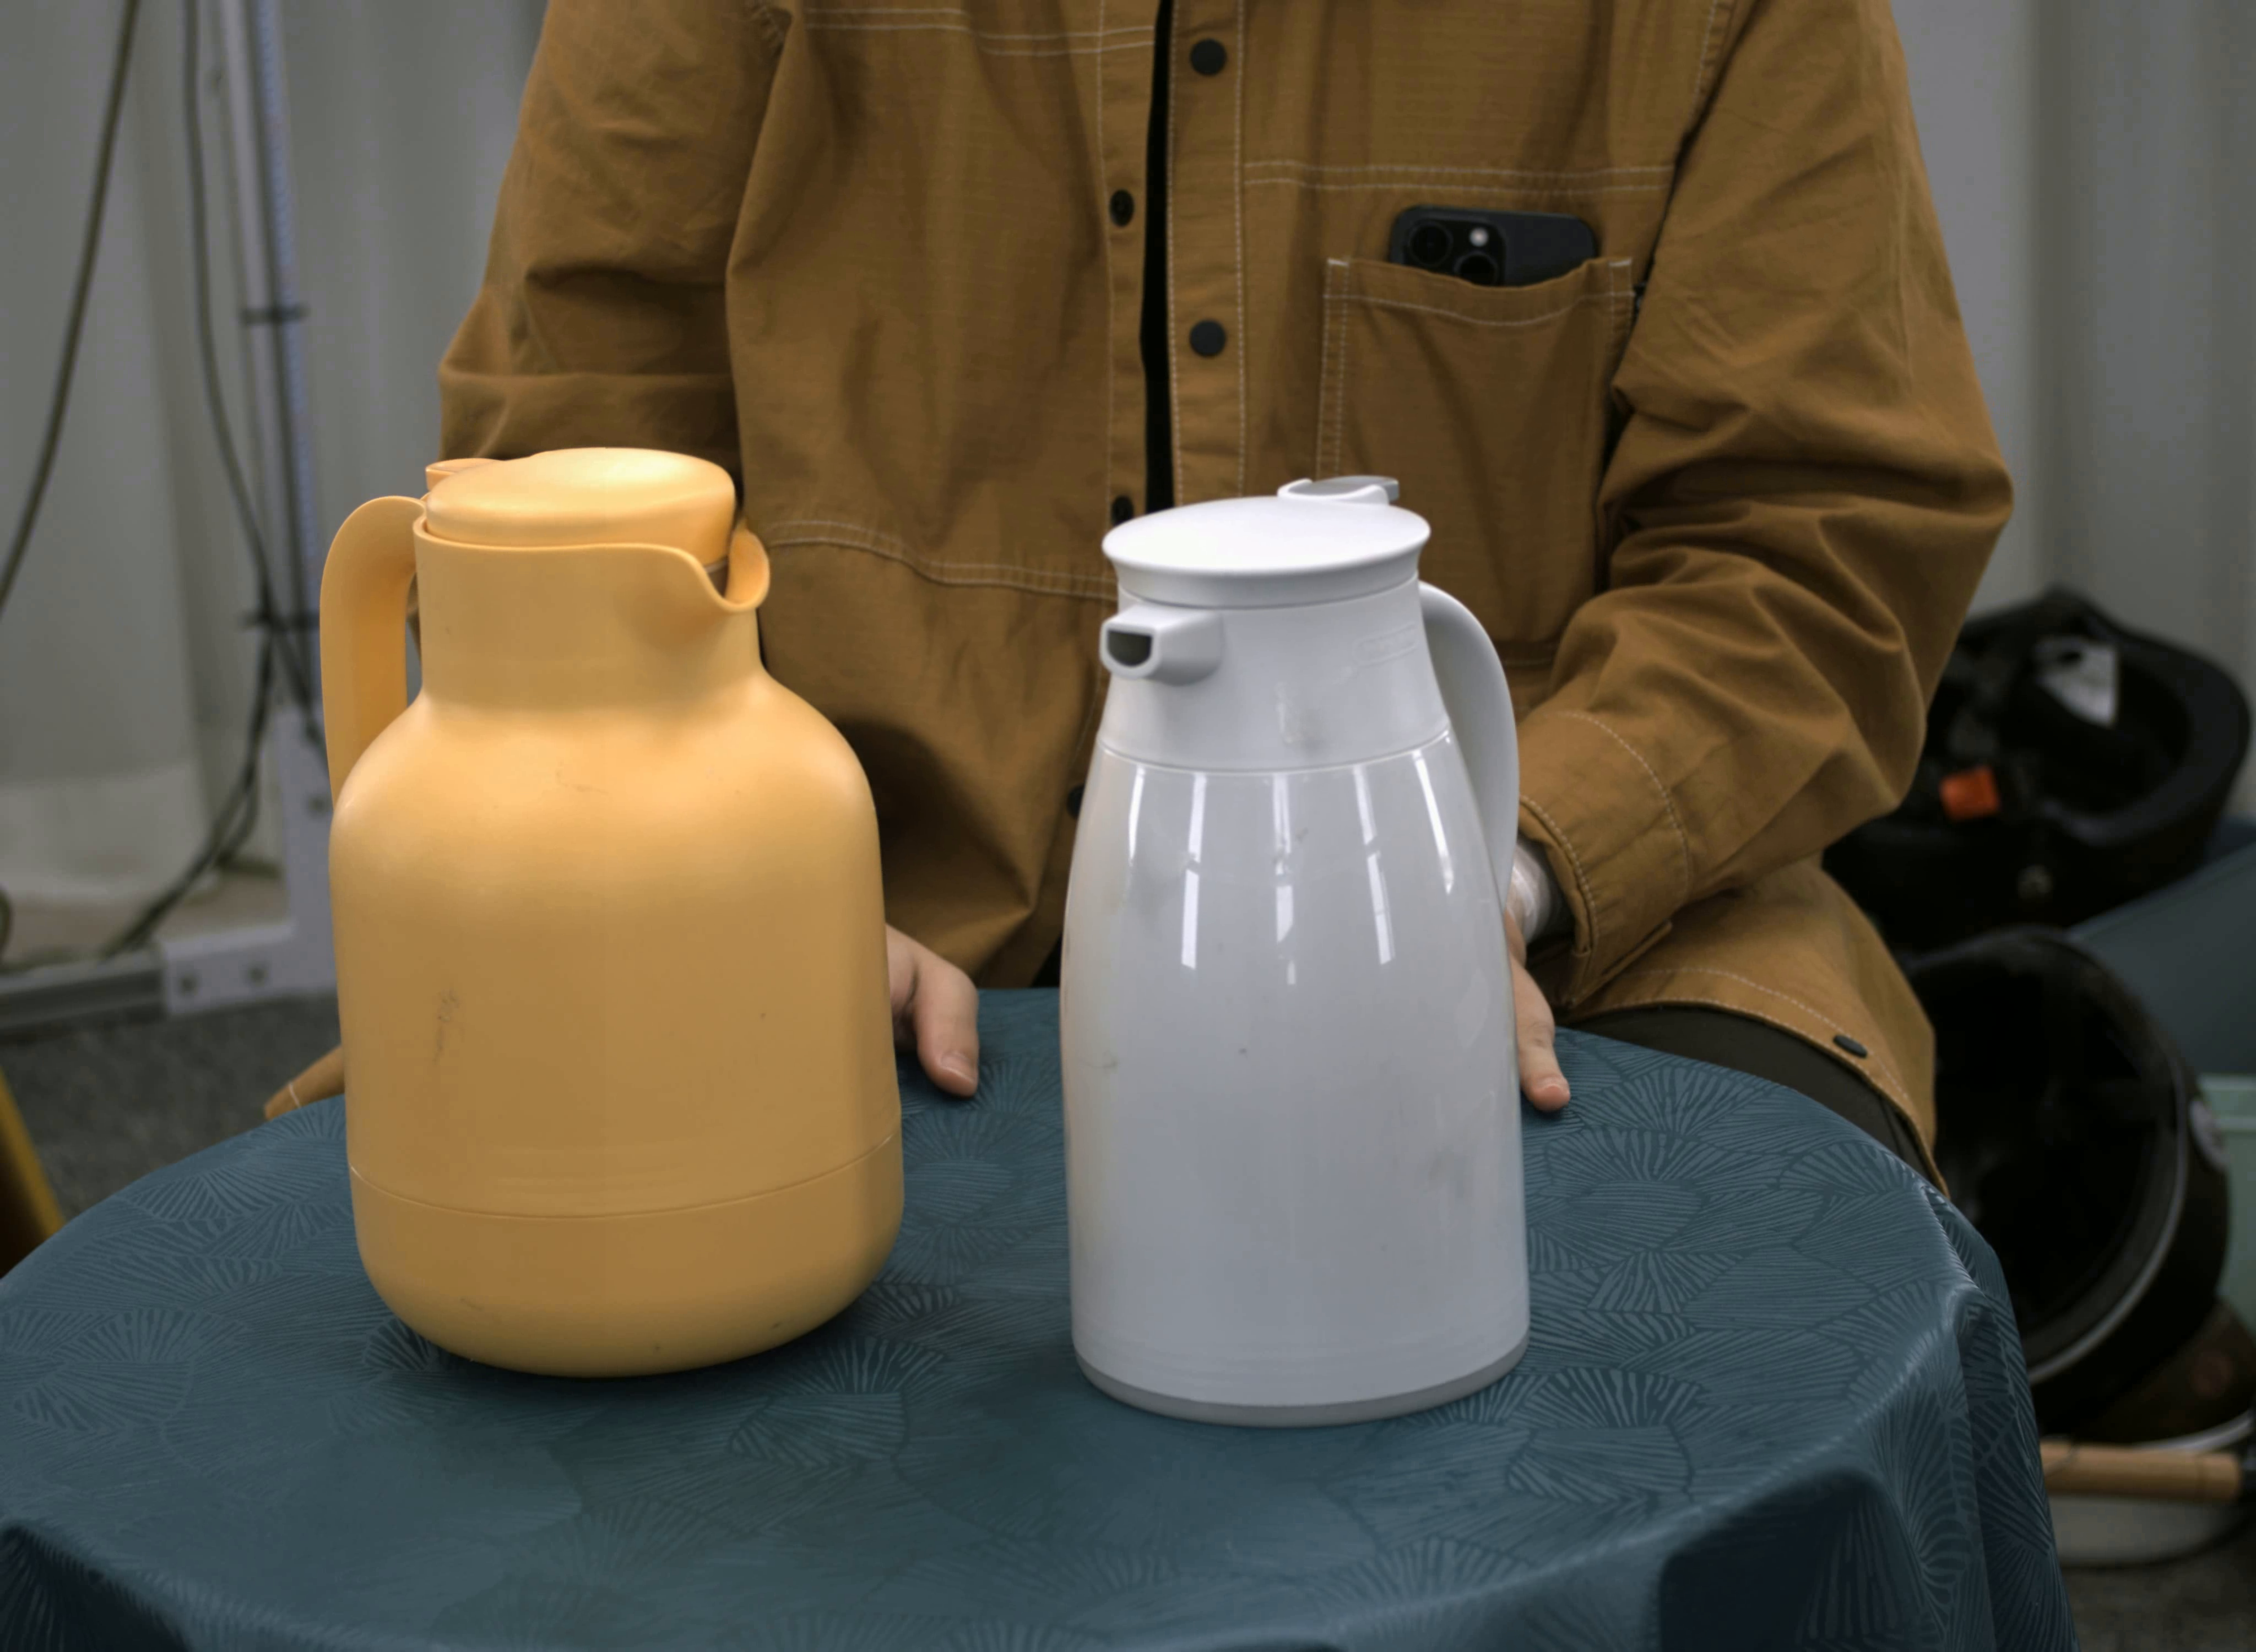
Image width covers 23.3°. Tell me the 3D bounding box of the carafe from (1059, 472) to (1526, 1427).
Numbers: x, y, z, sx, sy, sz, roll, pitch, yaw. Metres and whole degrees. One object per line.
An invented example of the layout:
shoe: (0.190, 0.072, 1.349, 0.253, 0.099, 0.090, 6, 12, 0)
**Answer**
carafe: (0.055, 0.026, 1.558, 0.133, 0.248, 0.167, 8, 17, 38)

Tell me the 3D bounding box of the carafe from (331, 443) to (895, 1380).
carafe: (-0.163, 0.017, 1.612, 0.163, 0.259, 0.204, -11, 17, -39)
